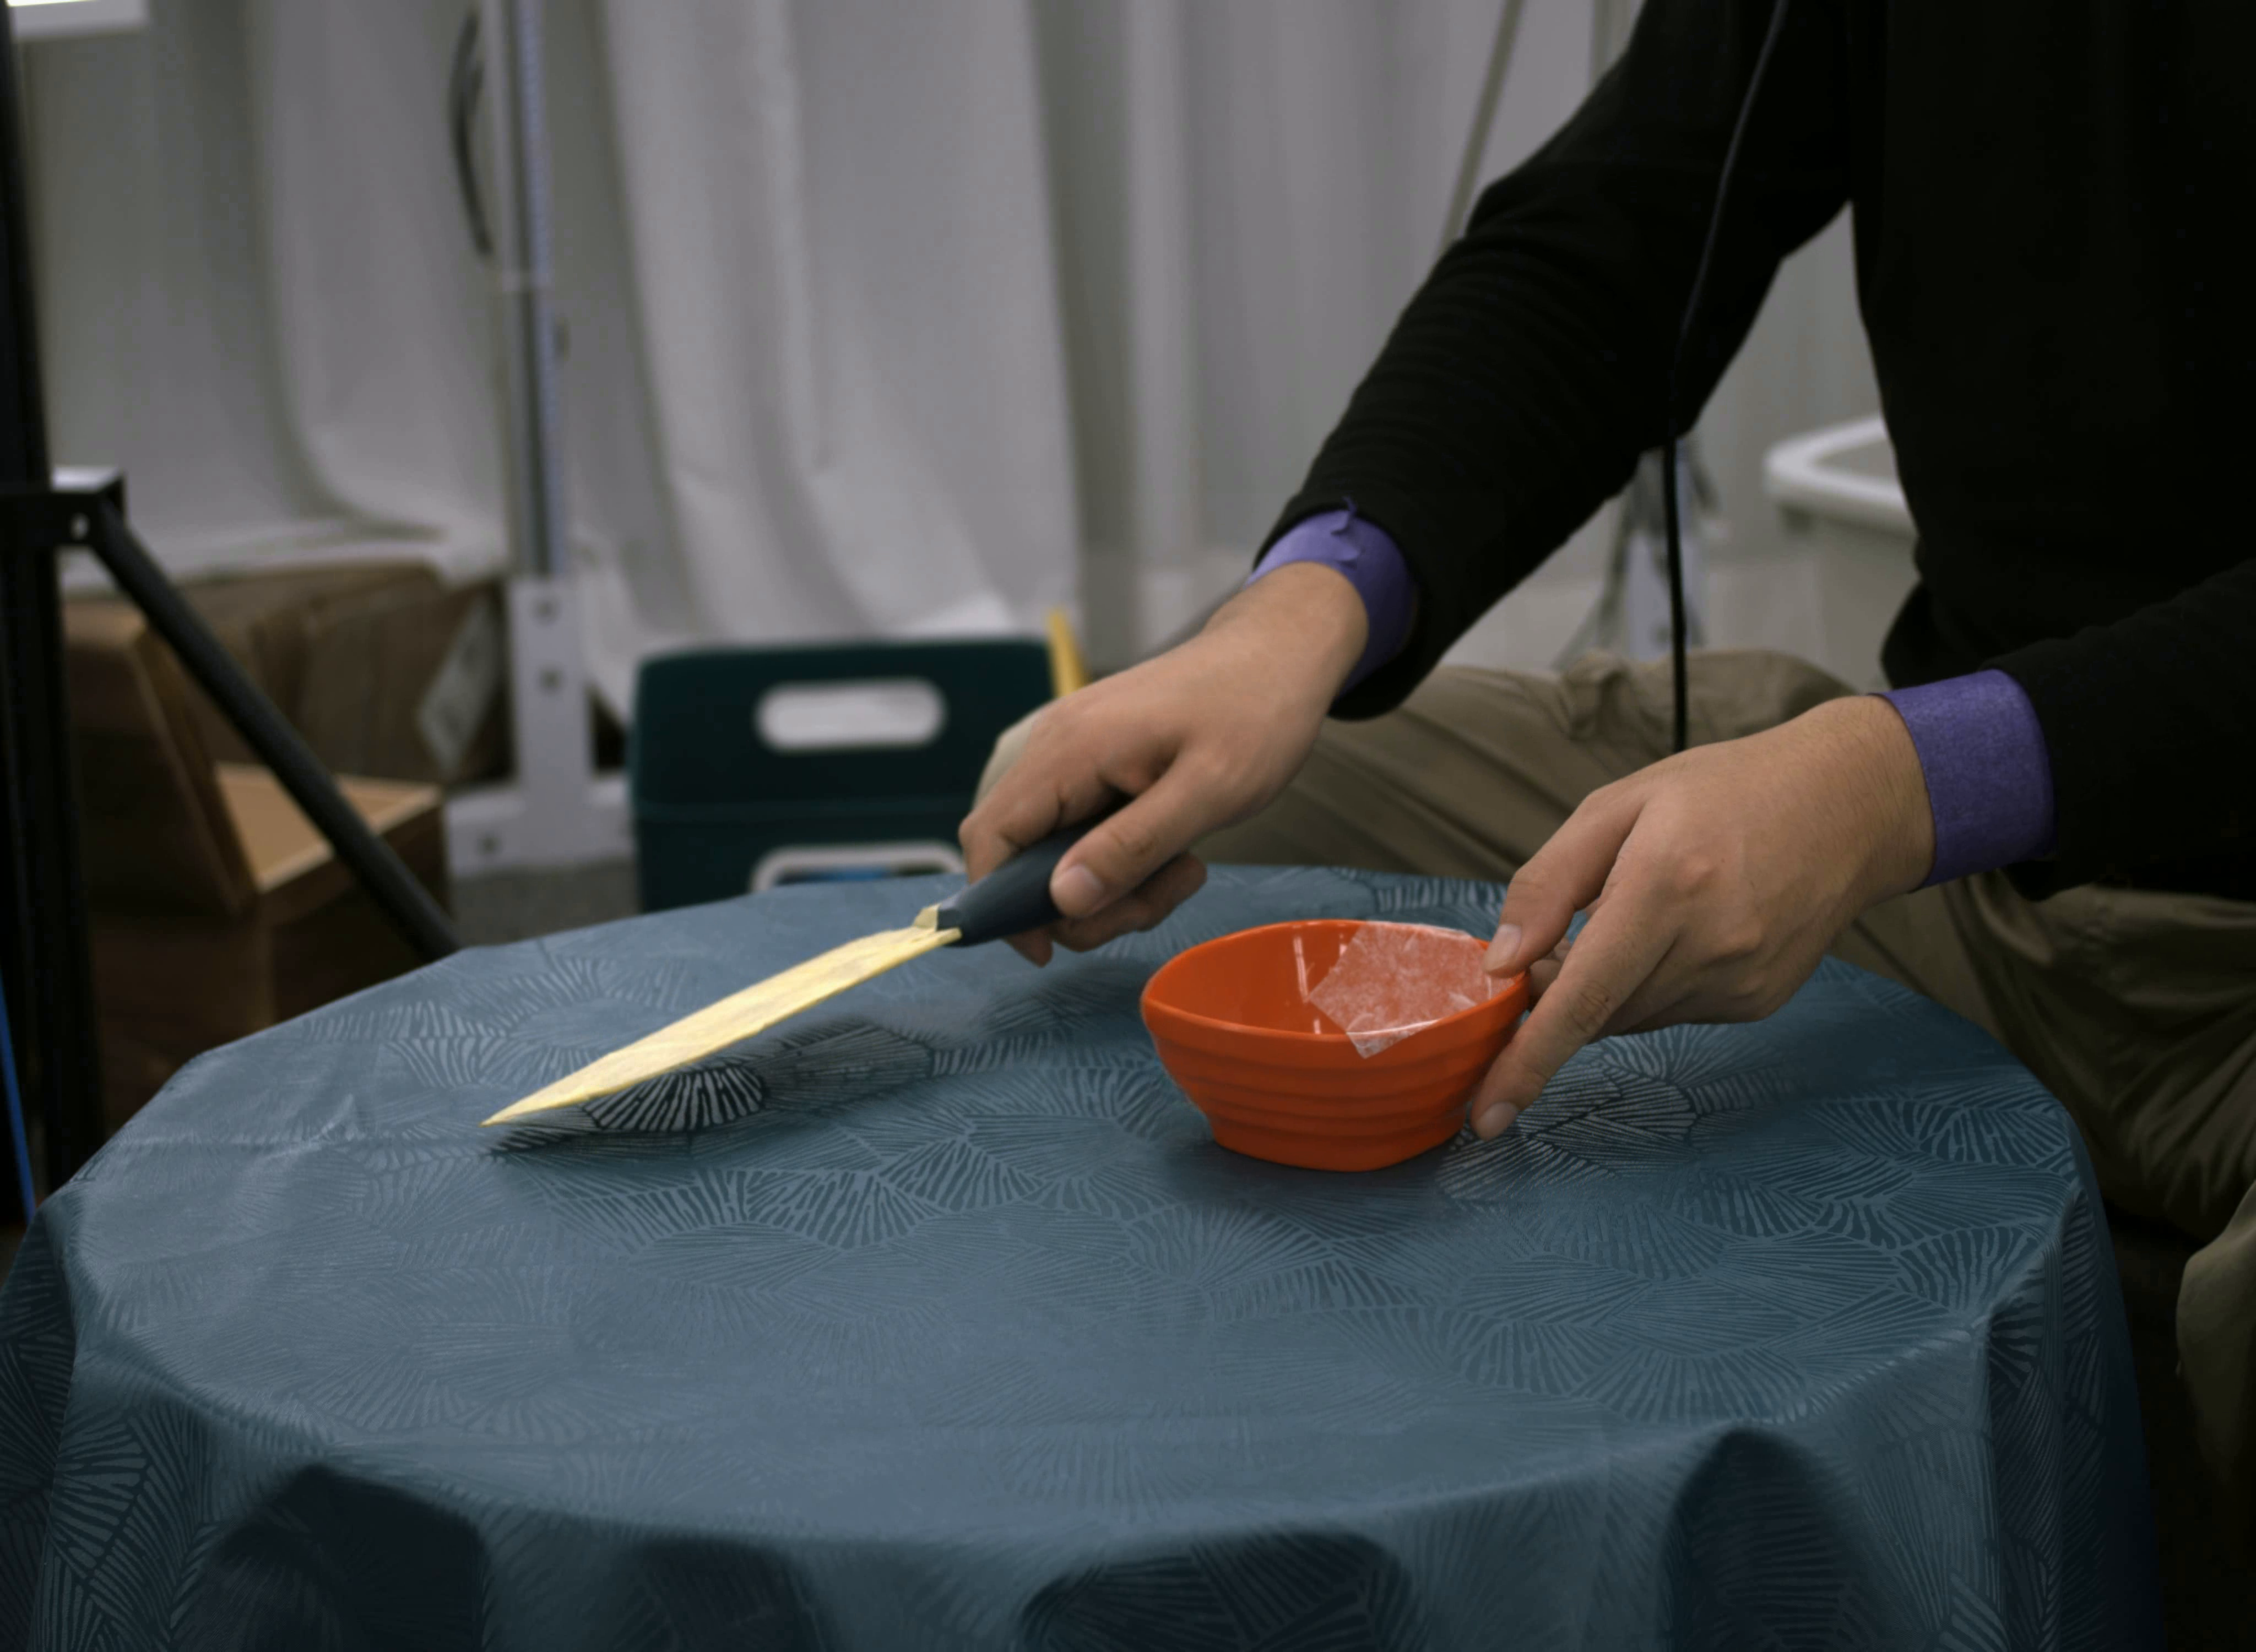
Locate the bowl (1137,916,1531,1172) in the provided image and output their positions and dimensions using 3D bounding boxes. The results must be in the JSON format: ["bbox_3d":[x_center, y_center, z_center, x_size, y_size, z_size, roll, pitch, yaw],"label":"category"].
[{"bbox_3d":[0.063,0.068,1.590,0.118,0.051,0.119,-5,16,0],"label":"bowl"}]

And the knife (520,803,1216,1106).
[{"bbox_3d":[-0.081,0.043,1.696,0.283,0.027,0.082,-22,9,-40],"label":"knife"}]
